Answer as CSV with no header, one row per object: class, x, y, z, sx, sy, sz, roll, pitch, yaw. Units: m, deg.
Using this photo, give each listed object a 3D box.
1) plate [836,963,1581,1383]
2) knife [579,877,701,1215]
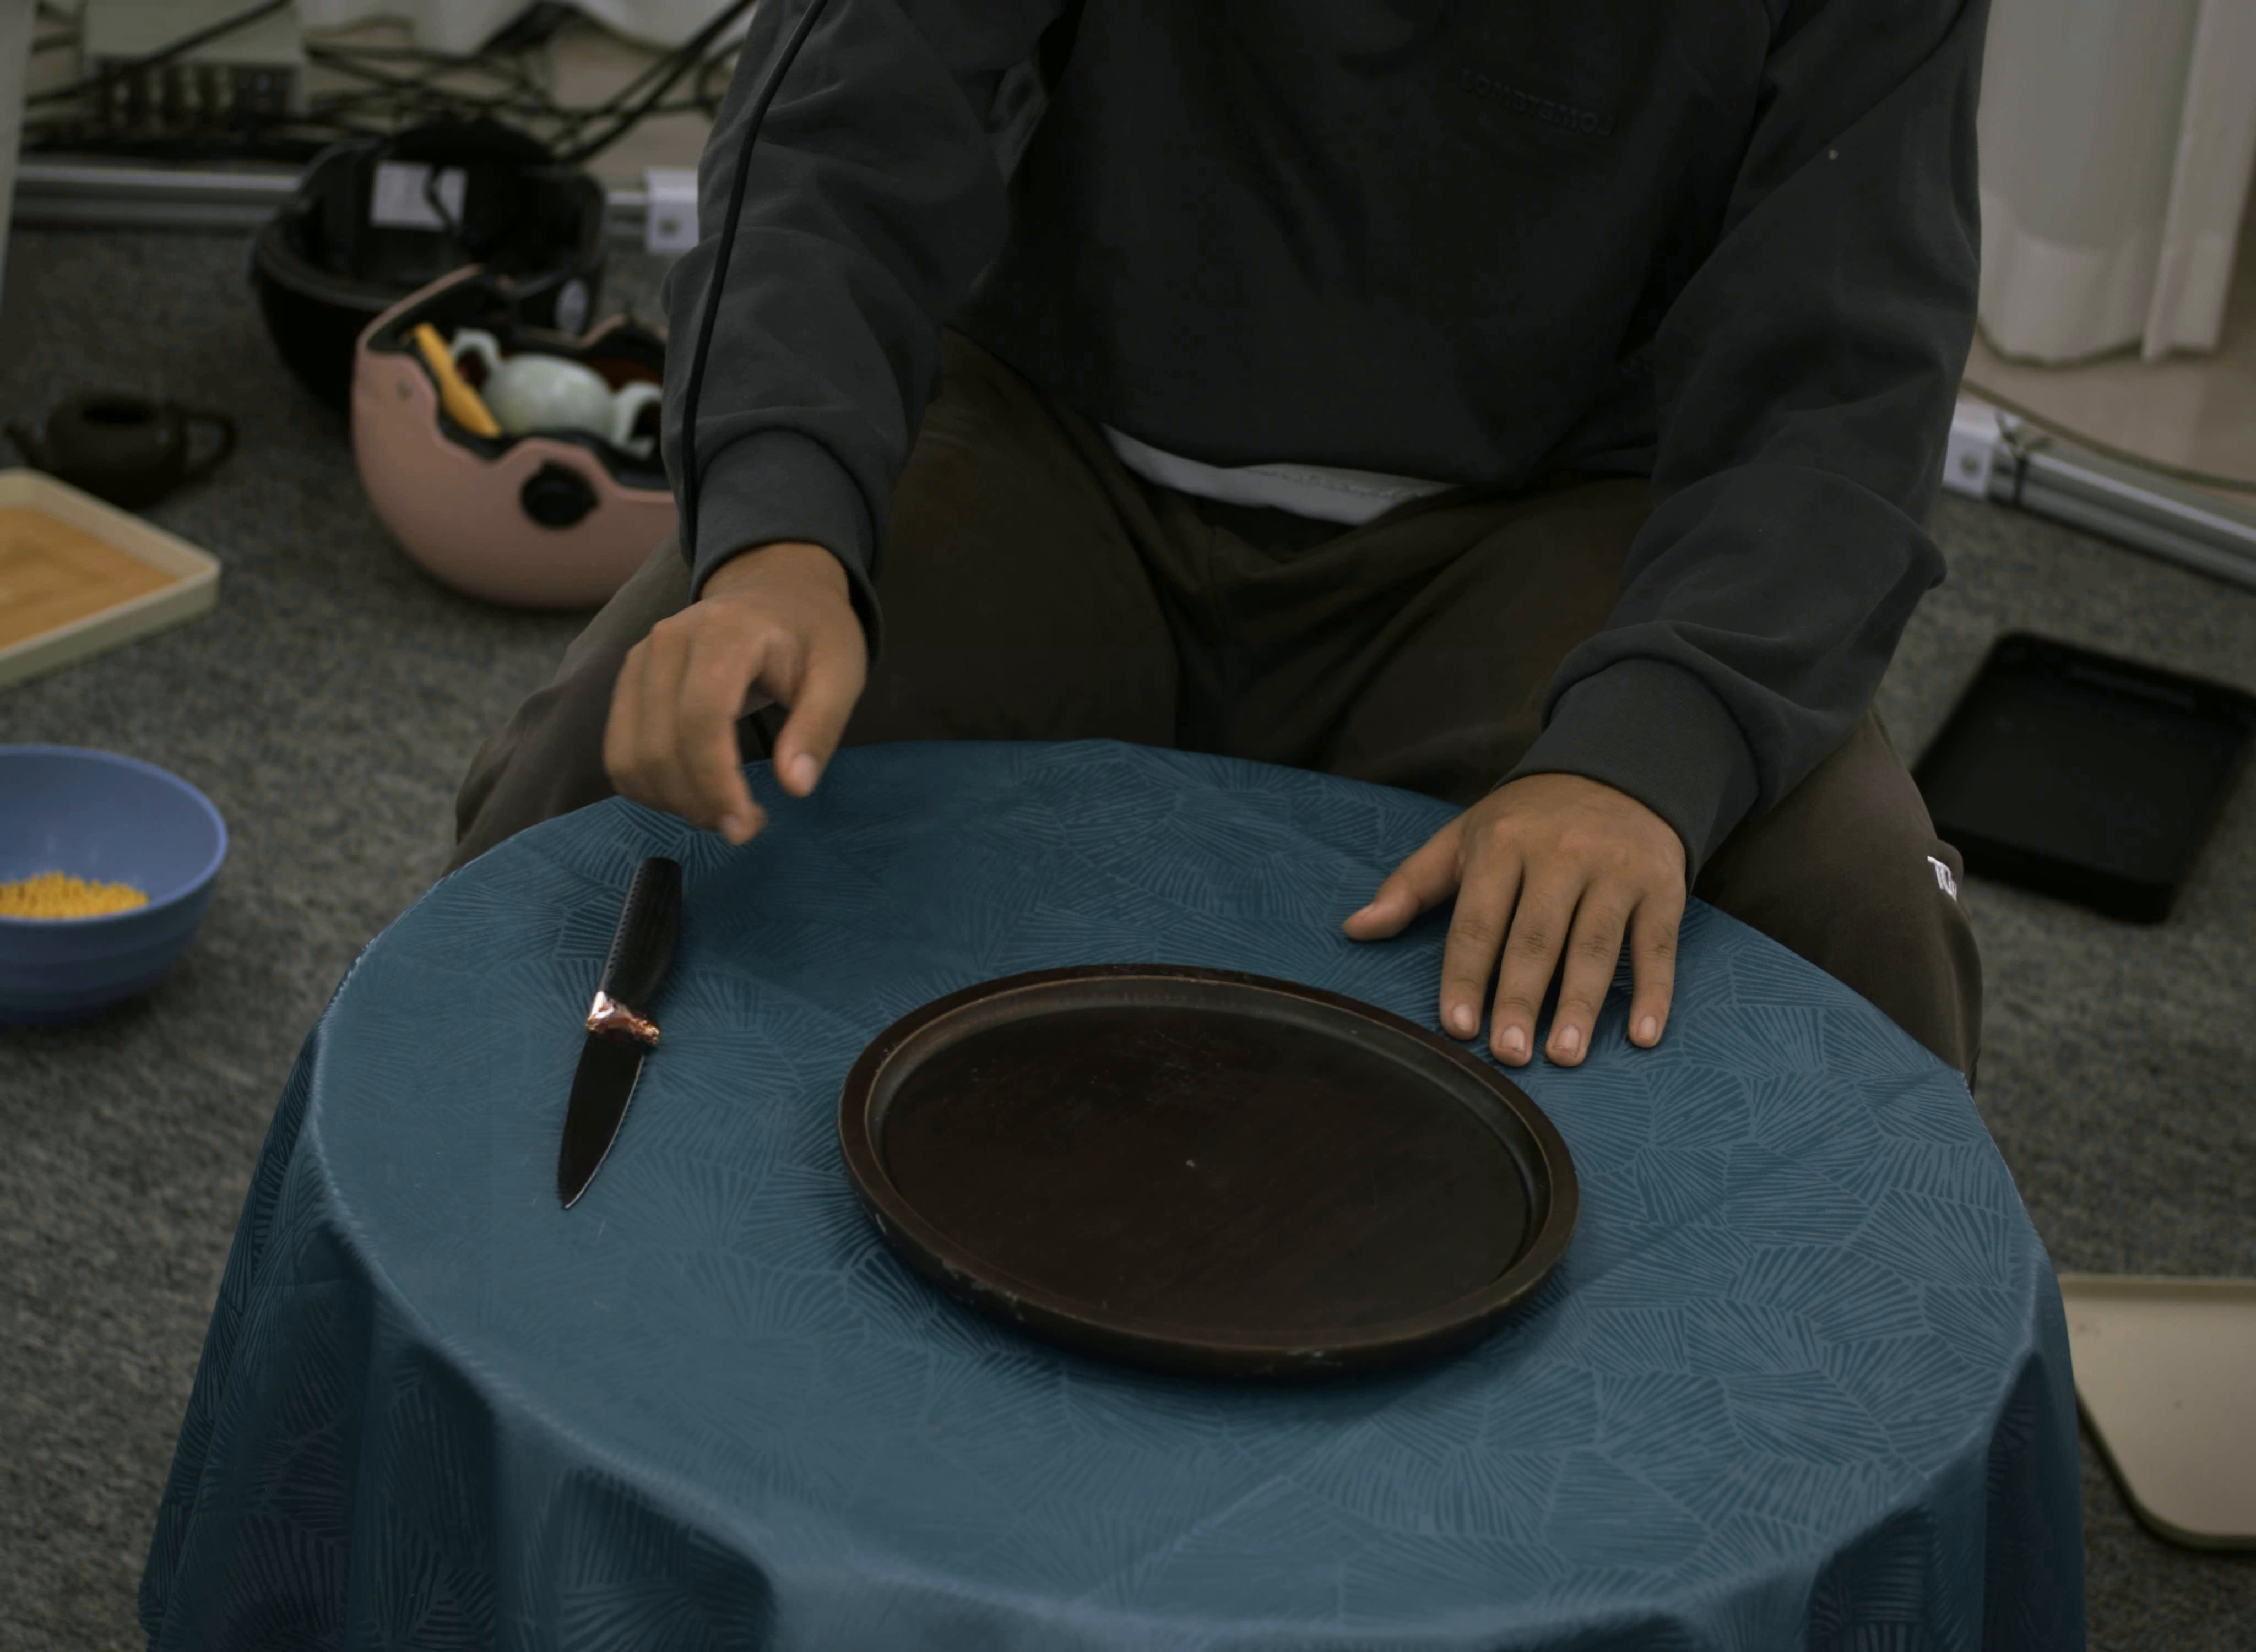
plate,0.027,0.116,1.803,0.254,0.029,0.256,4,26,-2
knife,-0.173,0.074,1.851,0.026,0.017,0.226,12,27,-2
